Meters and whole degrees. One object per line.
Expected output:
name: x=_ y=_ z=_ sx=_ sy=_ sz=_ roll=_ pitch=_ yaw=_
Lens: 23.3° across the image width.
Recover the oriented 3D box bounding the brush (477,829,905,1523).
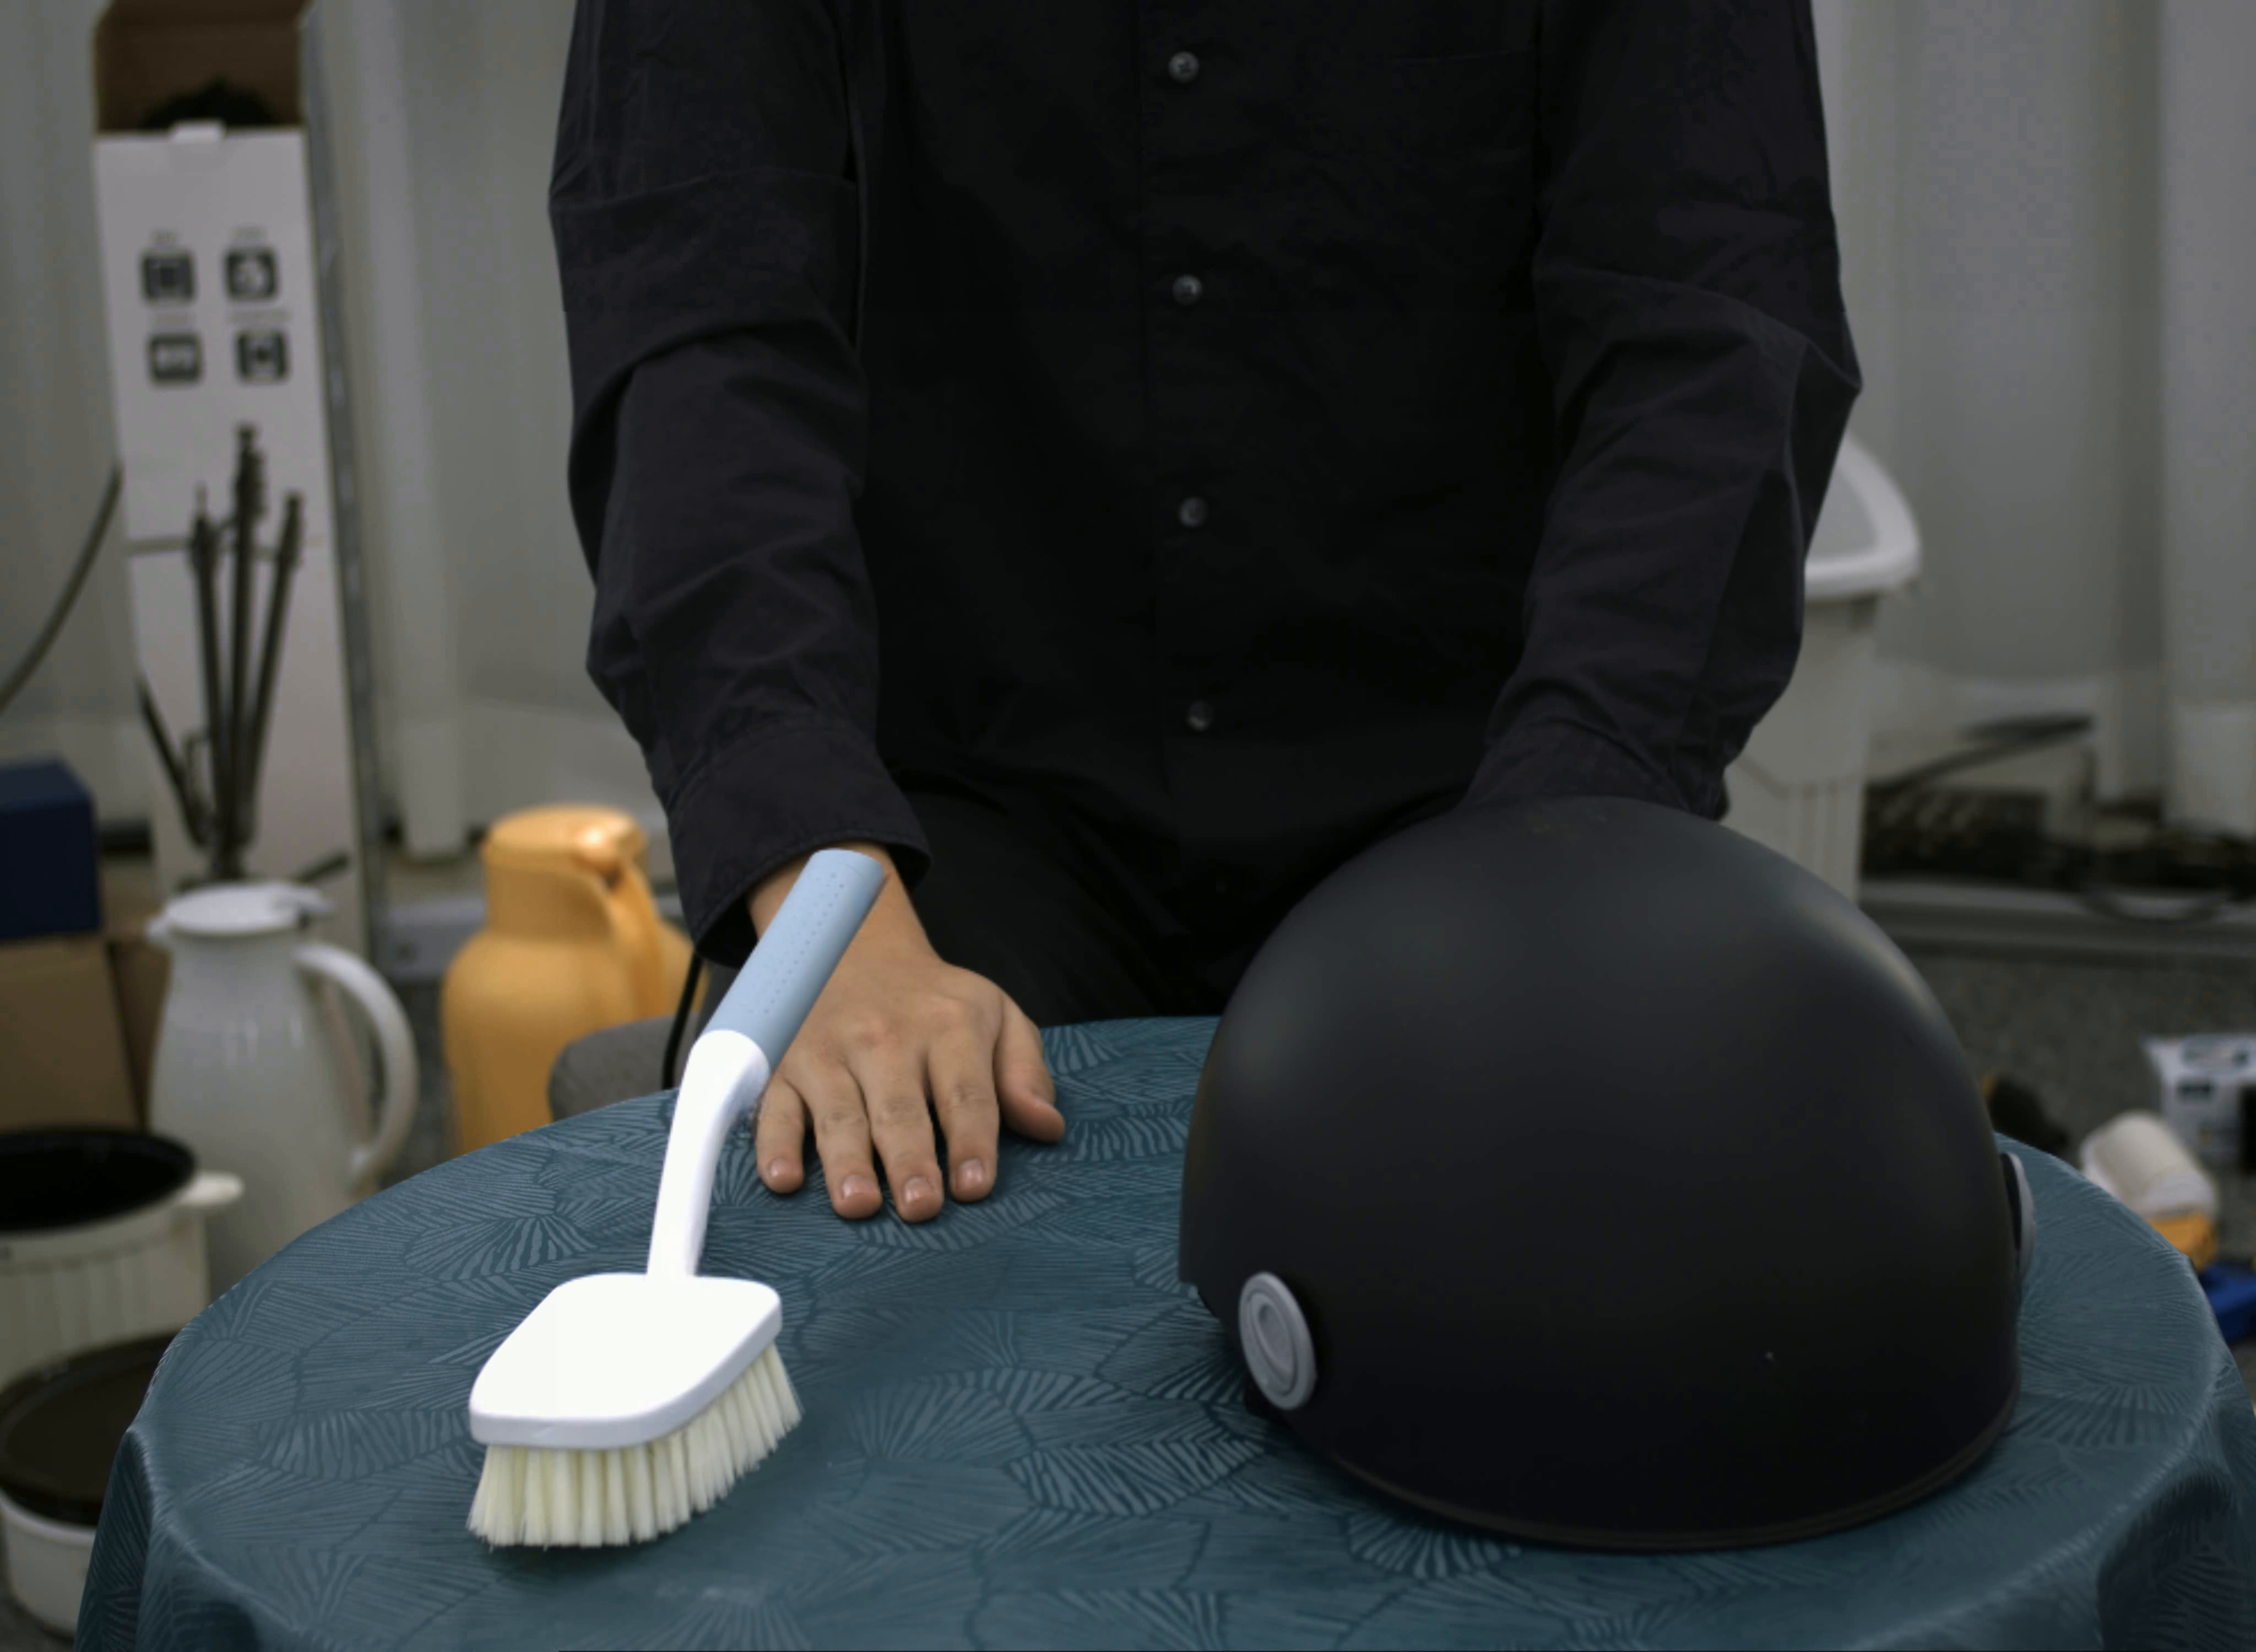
brush: x=-0.111 y=0.113 z=1.585 sx=0.083 sy=0.084 sz=0.328 roll=33 pitch=31 yaw=-3

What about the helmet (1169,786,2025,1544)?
helmet: x=0.127 y=0.079 z=1.525 sx=0.229 sy=0.166 sz=0.275 roll=-8 pitch=18 yaw=-13
